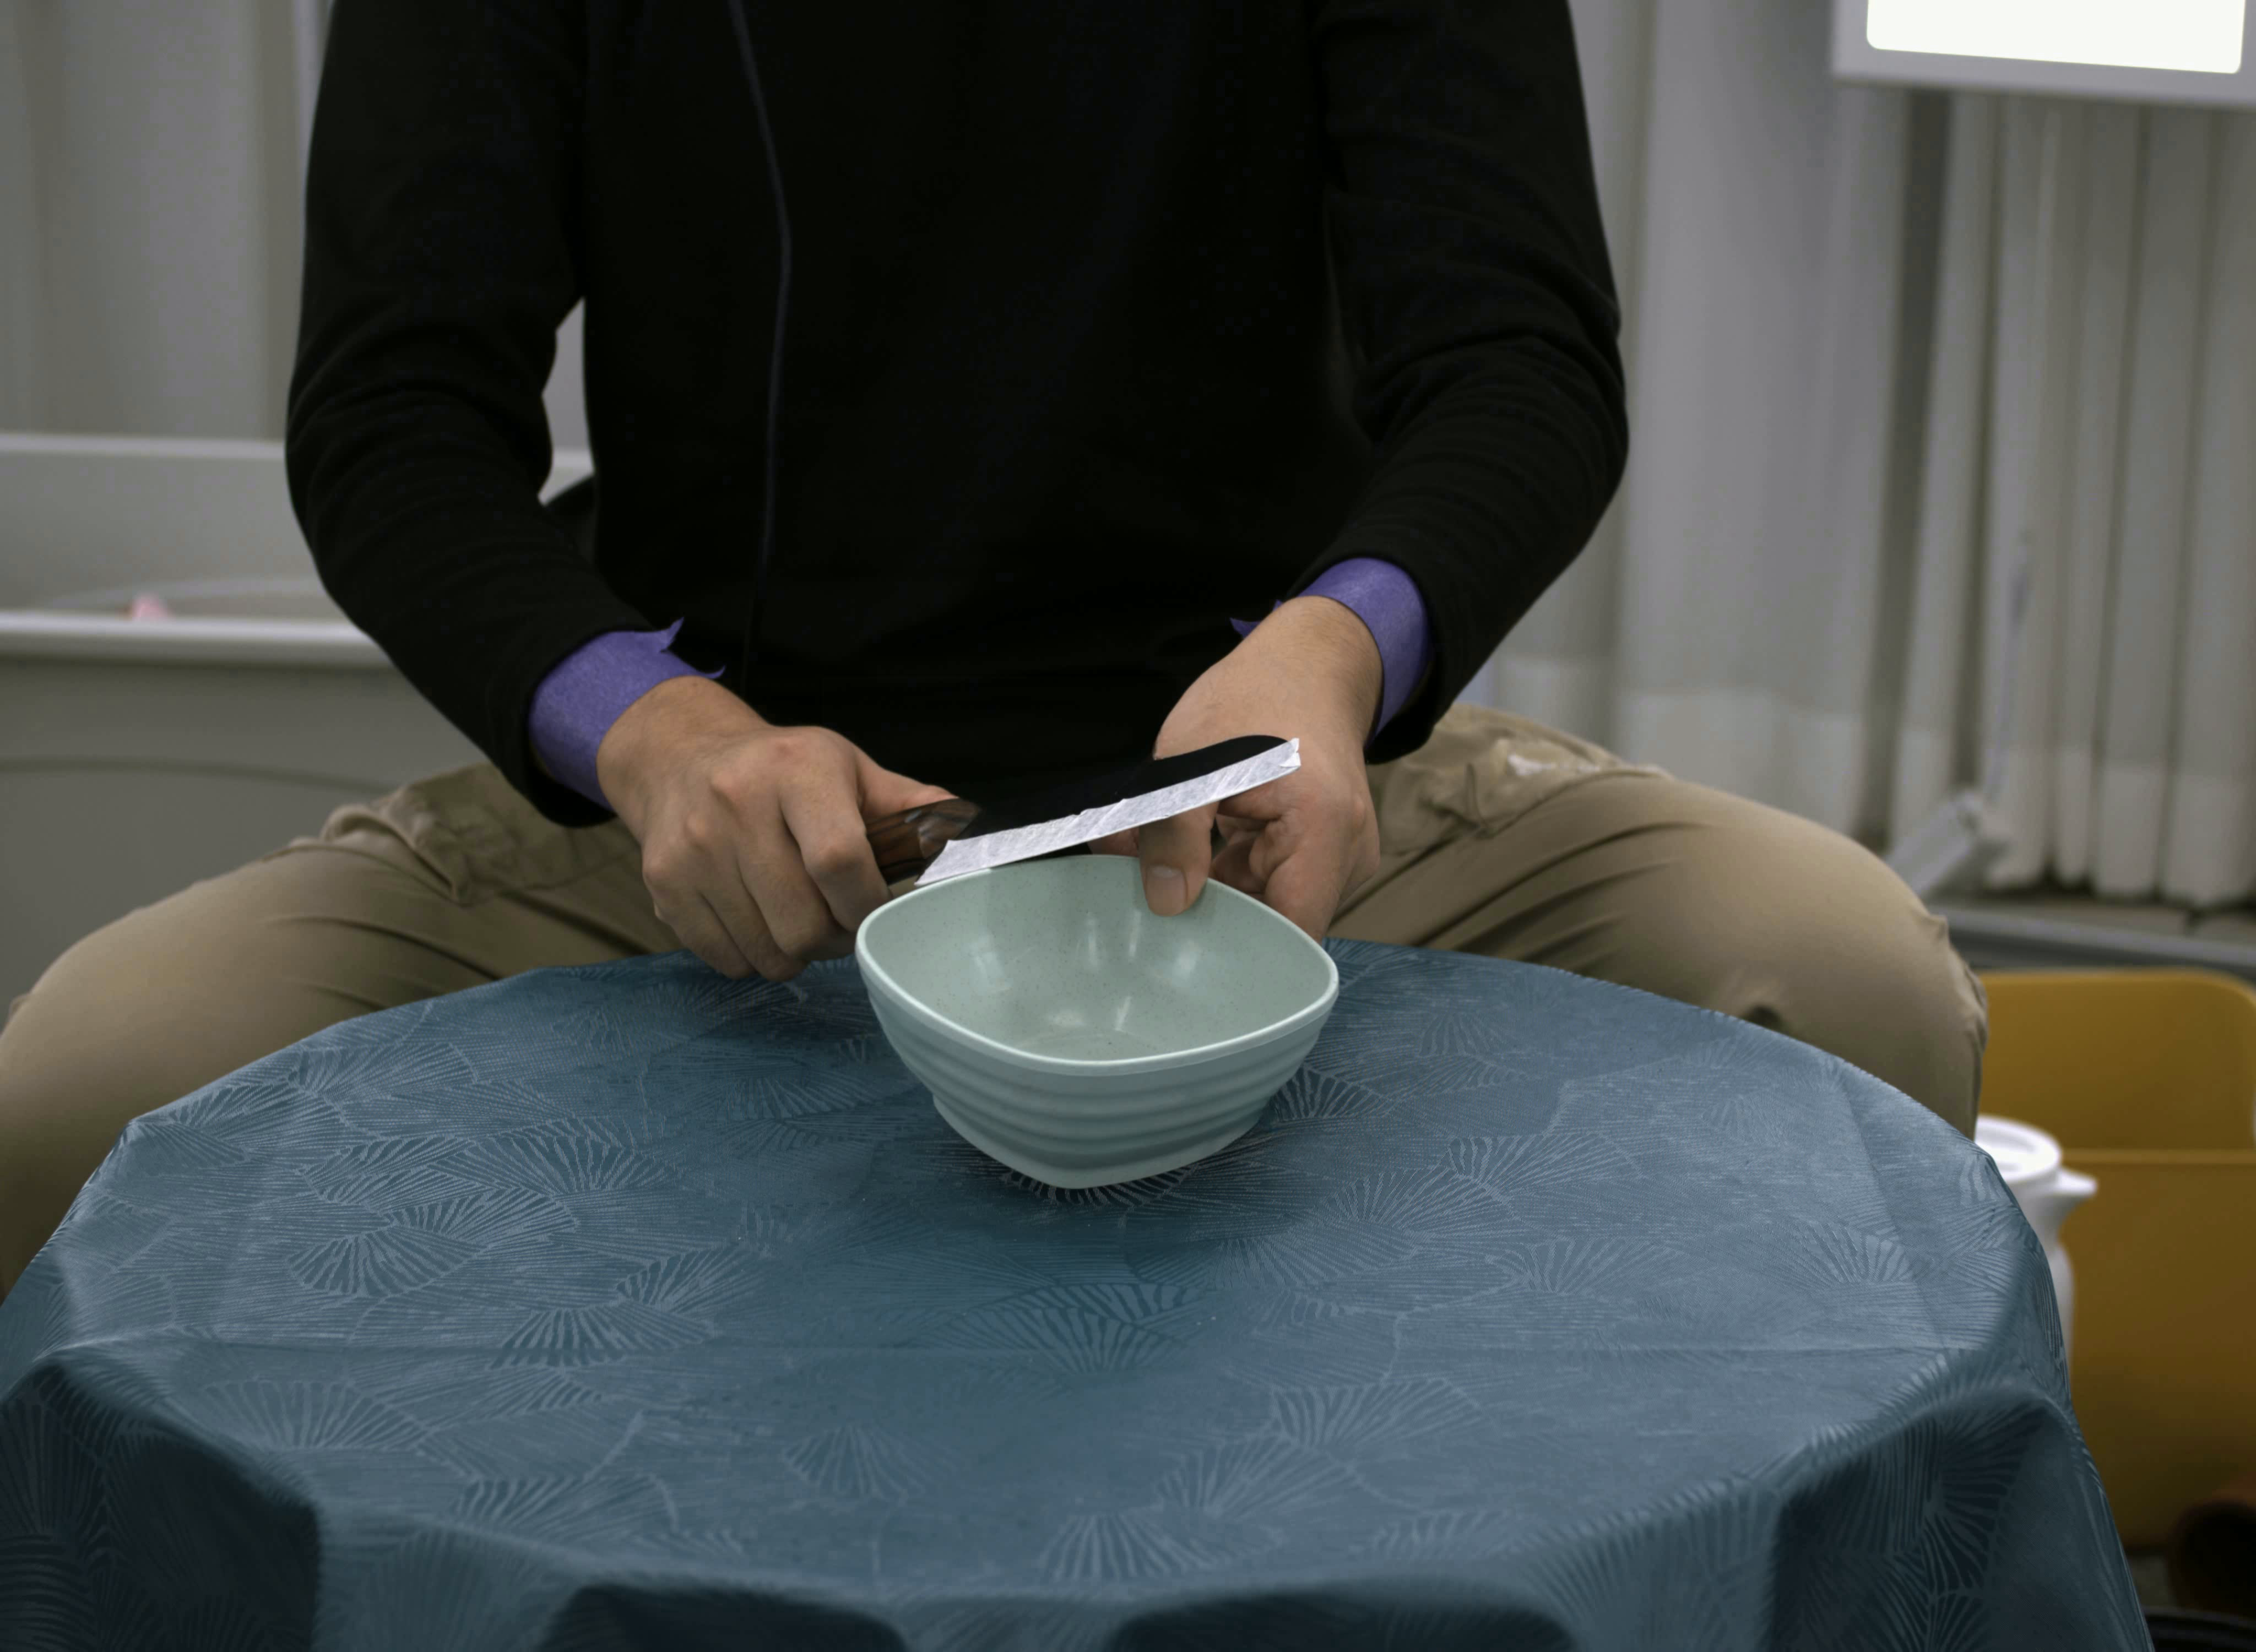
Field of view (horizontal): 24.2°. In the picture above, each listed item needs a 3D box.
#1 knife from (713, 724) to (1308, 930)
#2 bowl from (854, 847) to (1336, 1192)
[{"bbox_3d":[-0.042,0.001,1.708,0.286,0.020,0.050,-13,28,46],"label":"knife"},{"bbox_3d":[-0.012,0.065,1.644,0.151,0.059,0.150,5,27,-2],"label":"bowl"}]
